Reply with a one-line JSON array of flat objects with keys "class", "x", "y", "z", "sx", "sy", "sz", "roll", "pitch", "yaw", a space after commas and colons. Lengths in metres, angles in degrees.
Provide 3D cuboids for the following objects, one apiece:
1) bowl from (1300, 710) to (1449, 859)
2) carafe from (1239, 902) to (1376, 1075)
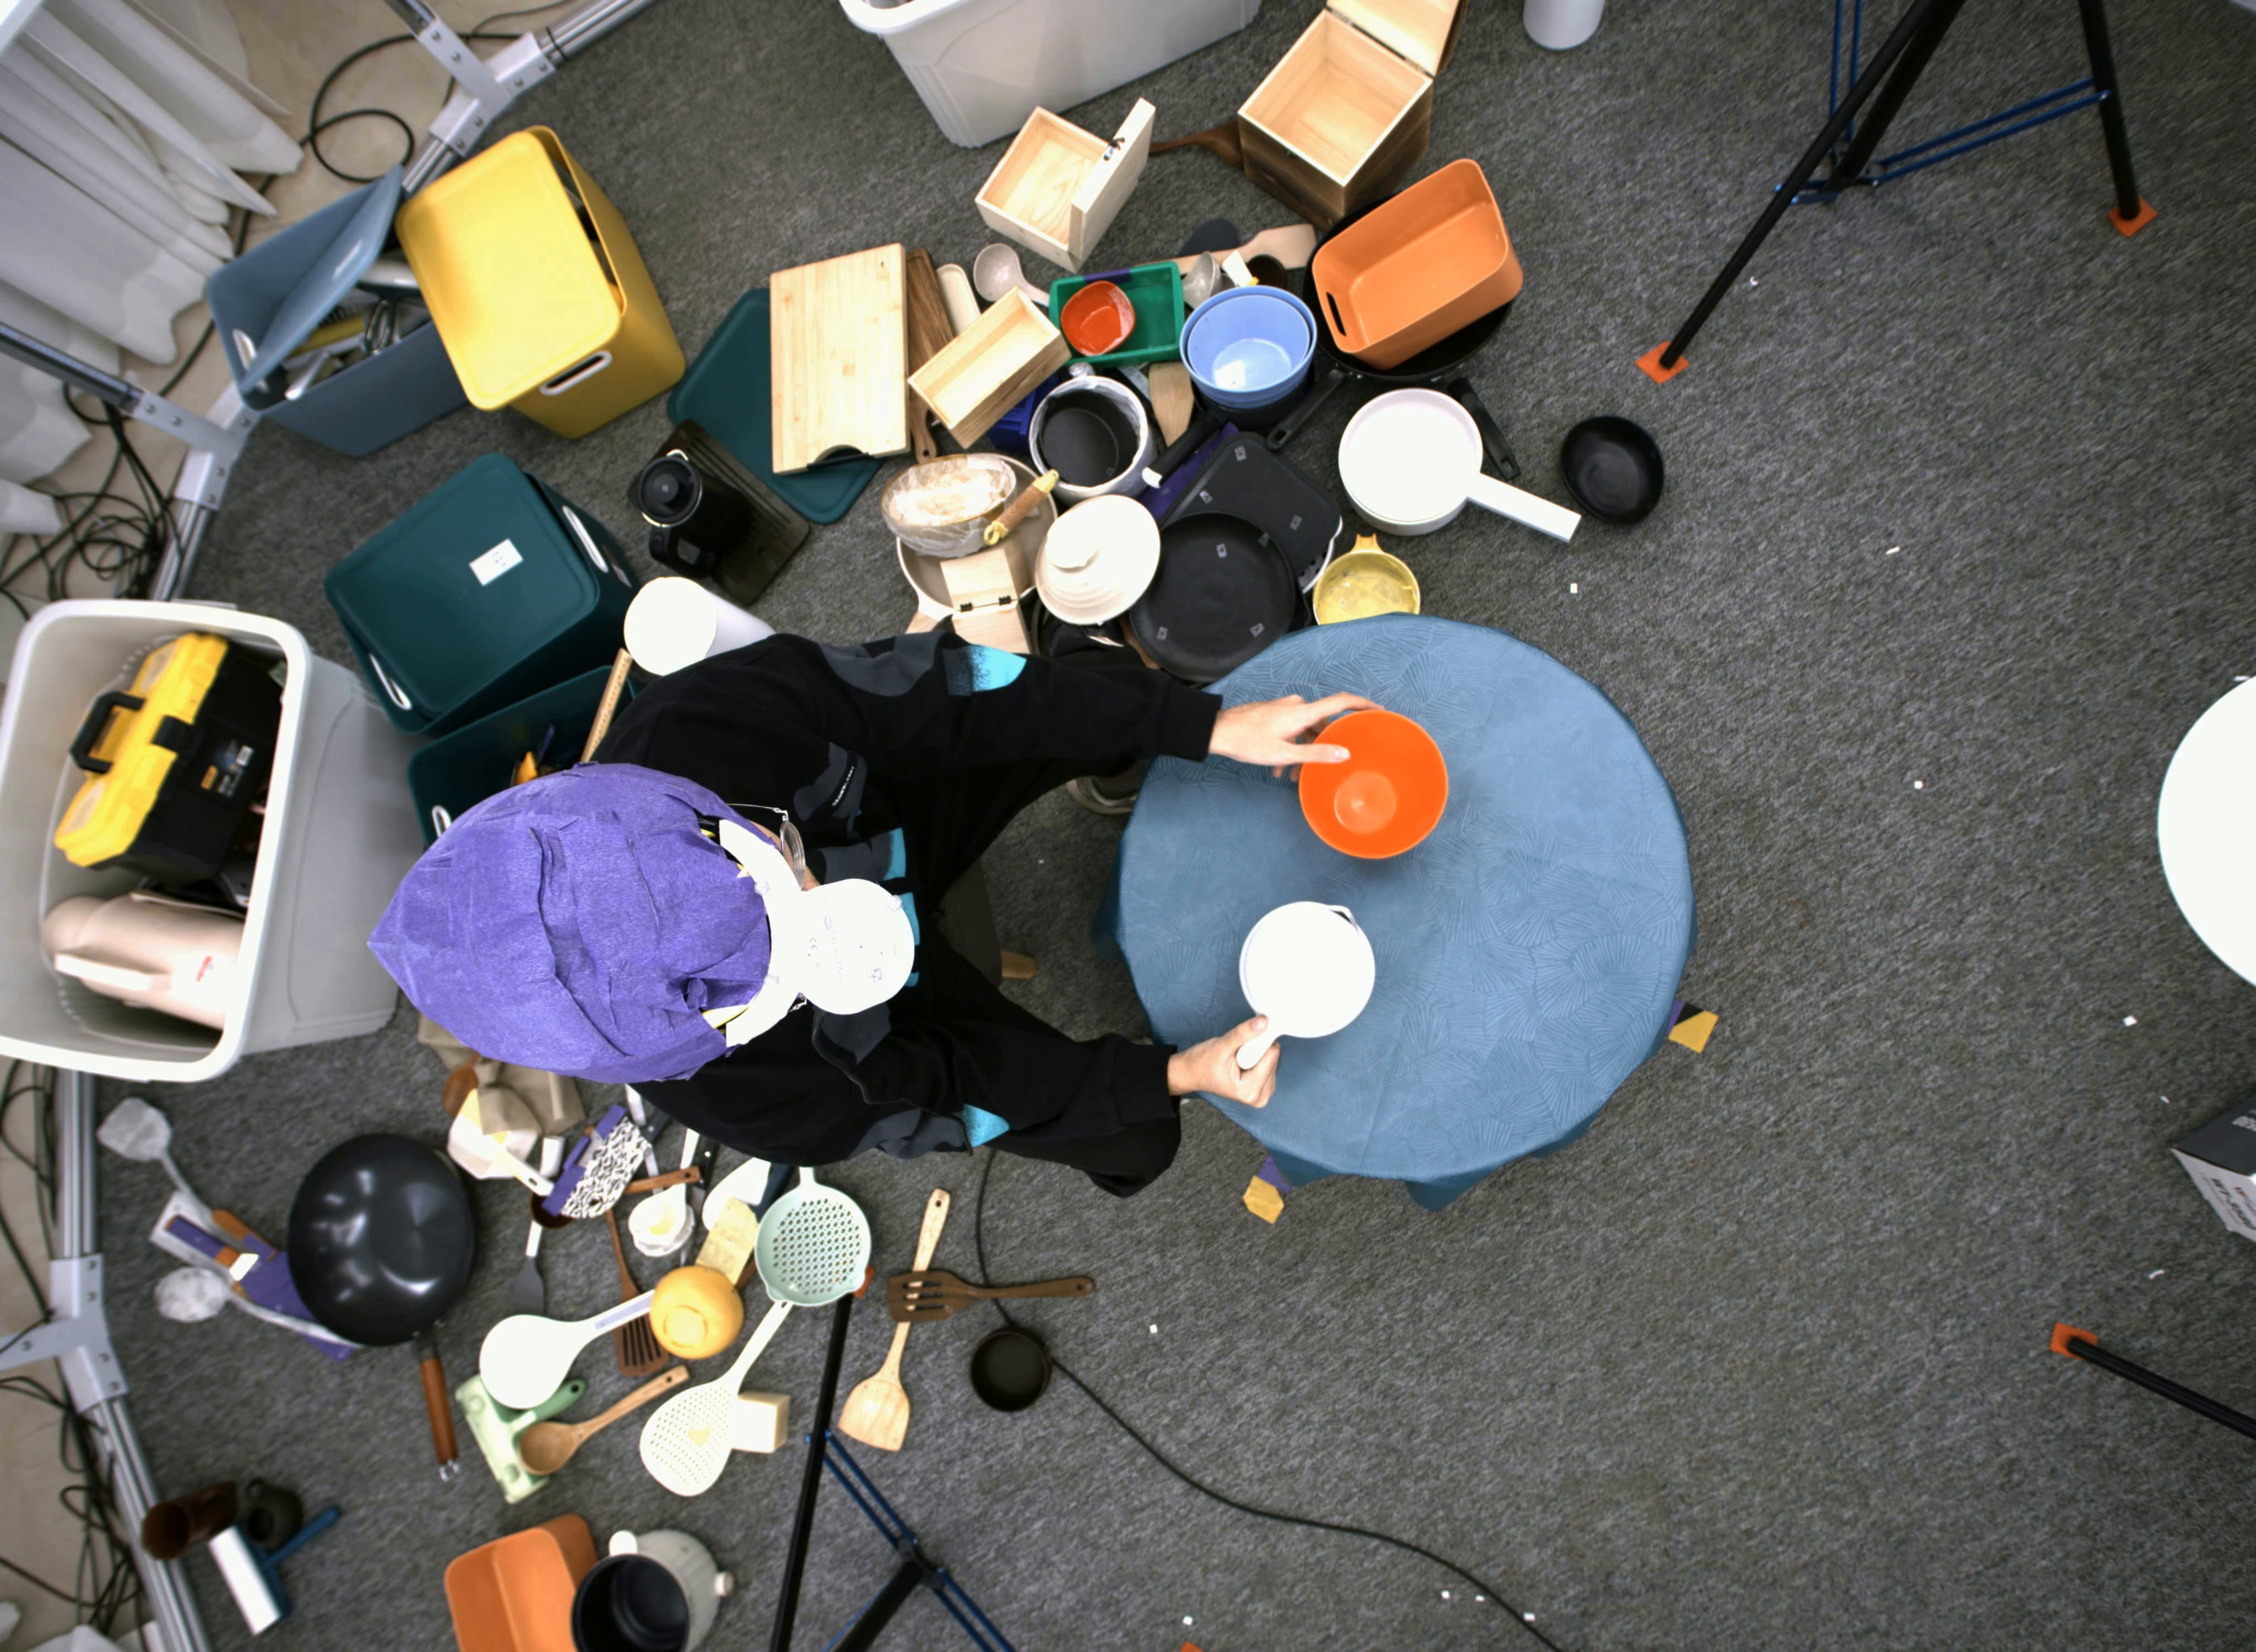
[{"class": "bowl", "x": 0.251, "y": -0.038, "z": 1.414, "sx": 0.148, "sy": 0.105, "sz": 0.147, "roll": -1, "pitch": 86, "yaw": 10}, {"class": "carafe", "x": 0.166, "y": 0.164, "z": 1.381, "sx": 0.132, "sy": 0.182, "sz": 0.191, "roll": 32, "pitch": 92, "yaw": 11}]
